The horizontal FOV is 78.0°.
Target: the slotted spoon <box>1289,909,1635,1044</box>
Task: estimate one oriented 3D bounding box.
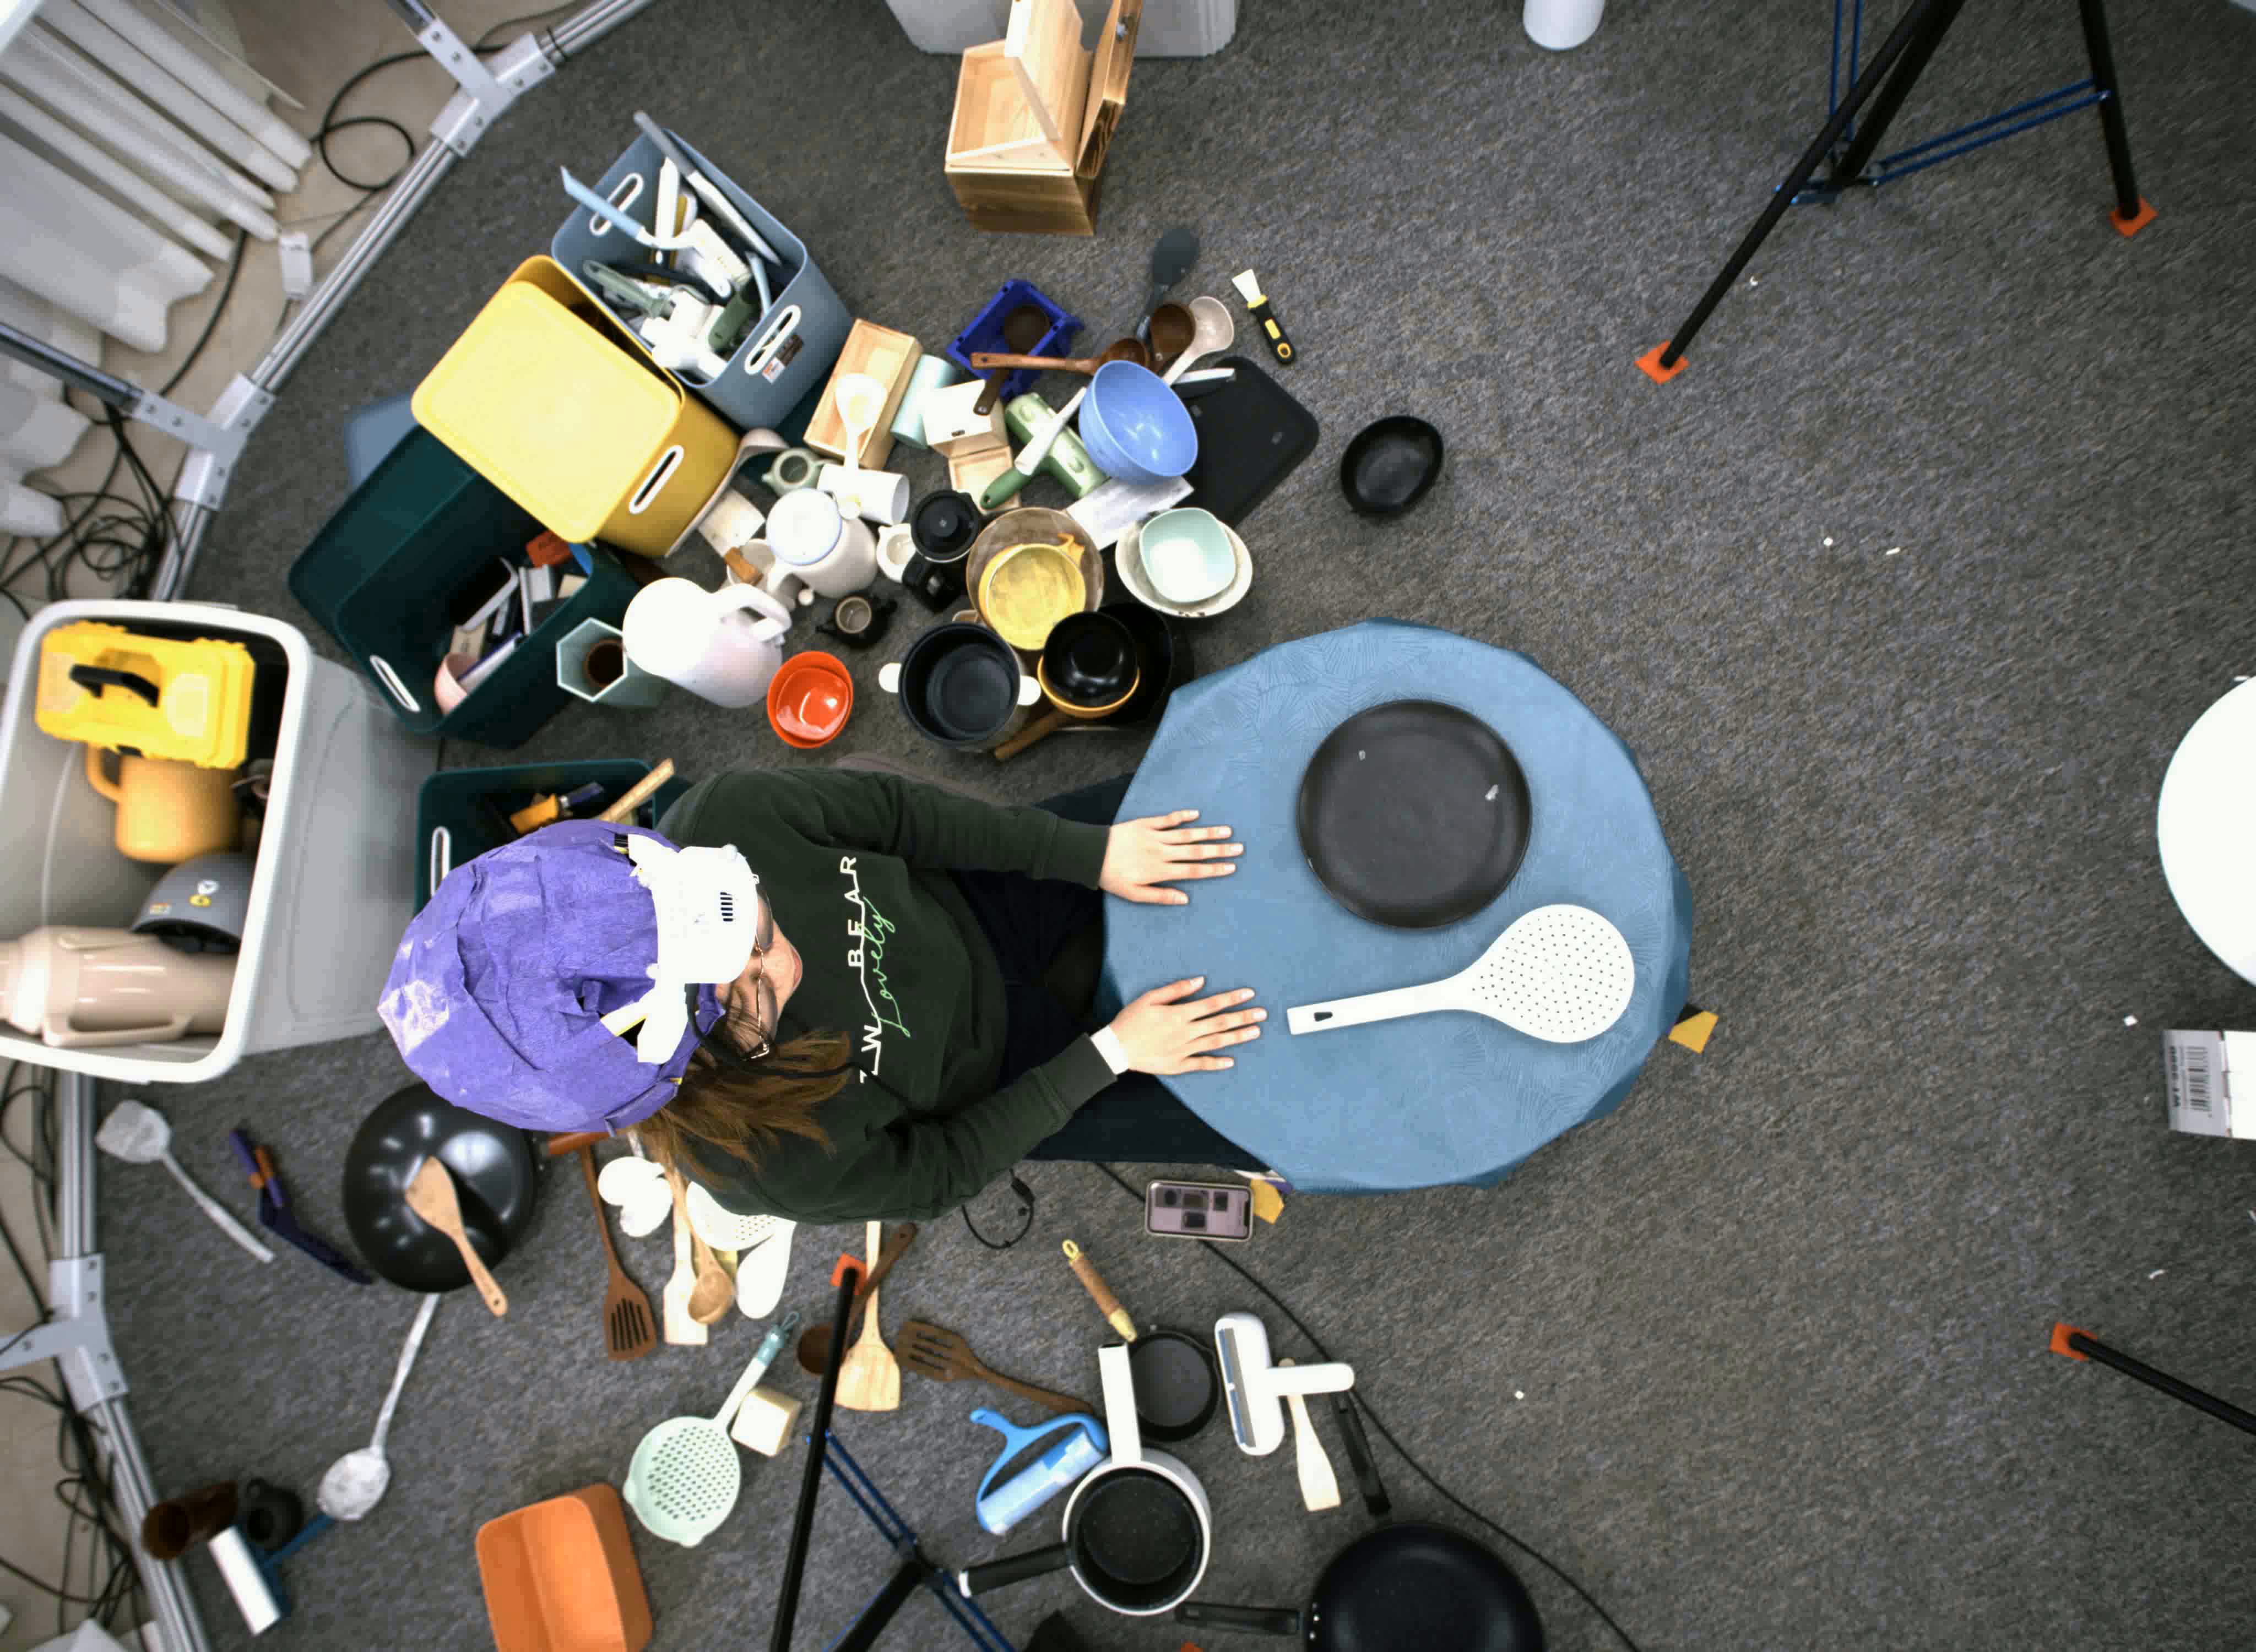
[{"bbox_3d":[0.339,0.172,1.422,0.351,0.046,0.135,-11,82,10],"label":"slotted spoon"}]

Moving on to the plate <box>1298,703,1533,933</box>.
[{"bbox_3d":[0.302,-0.010,1.453,0.245,0.023,0.243,-1,86,10],"label":"plate"}]
